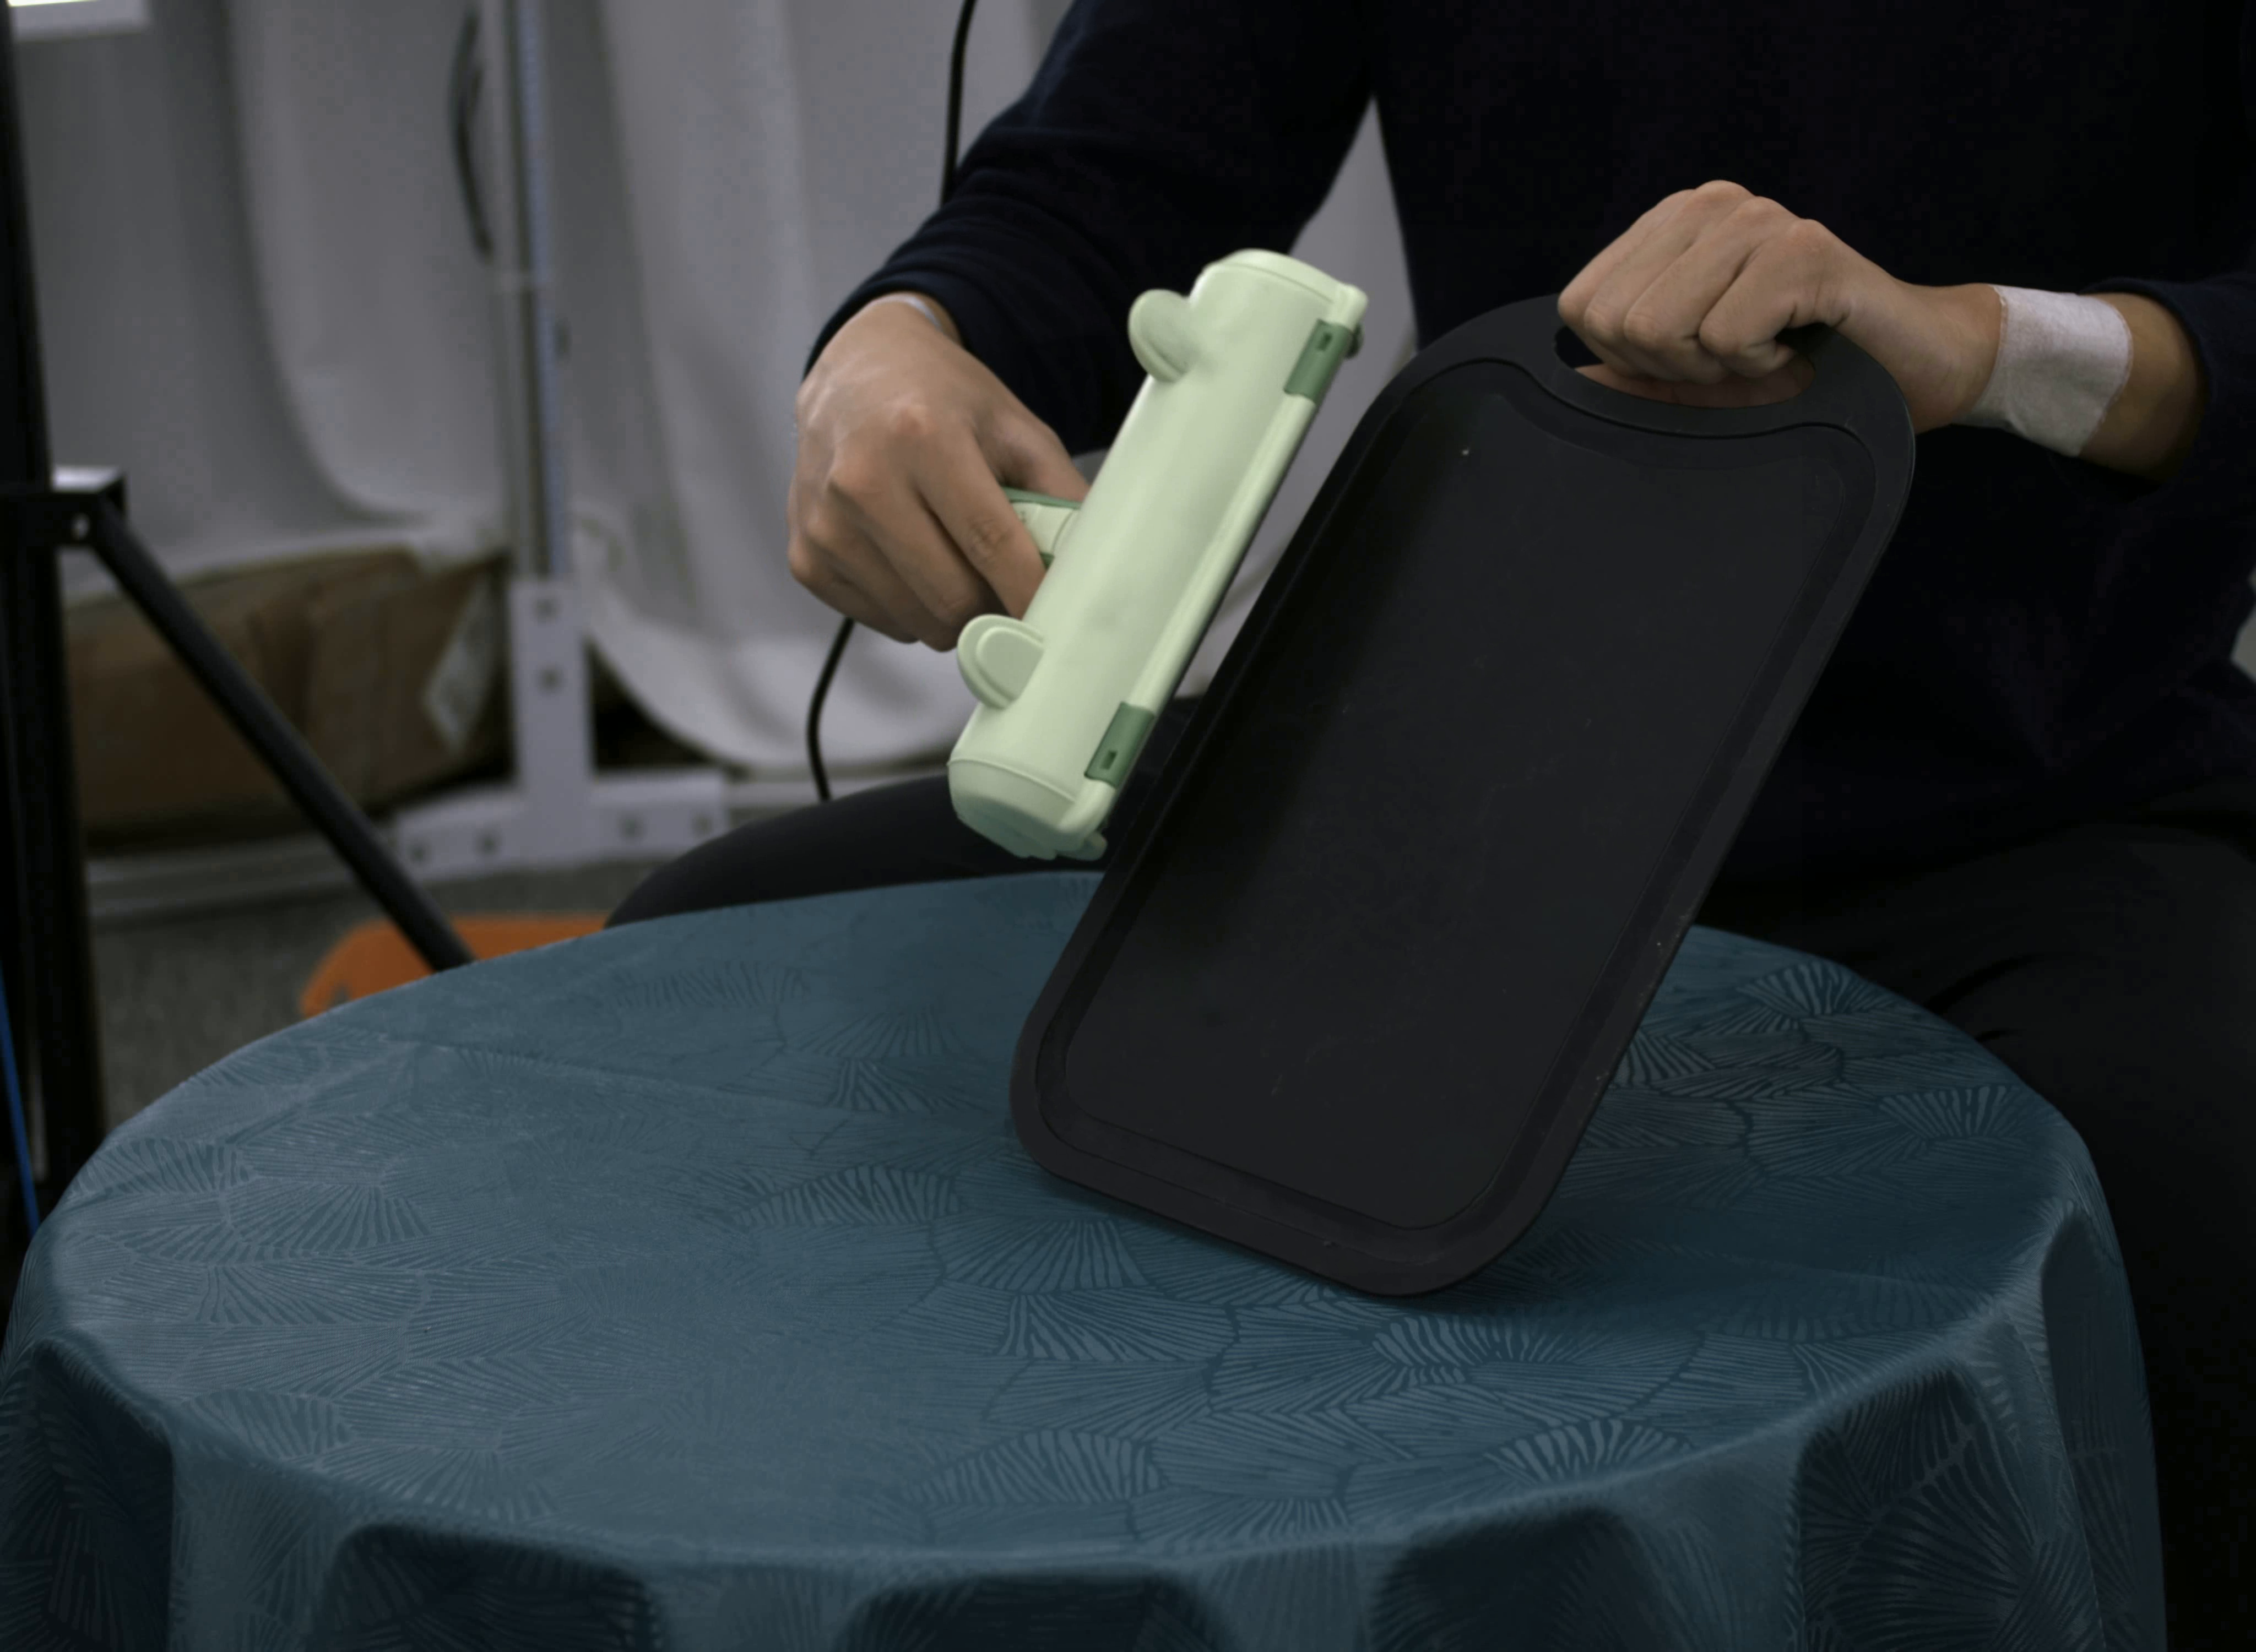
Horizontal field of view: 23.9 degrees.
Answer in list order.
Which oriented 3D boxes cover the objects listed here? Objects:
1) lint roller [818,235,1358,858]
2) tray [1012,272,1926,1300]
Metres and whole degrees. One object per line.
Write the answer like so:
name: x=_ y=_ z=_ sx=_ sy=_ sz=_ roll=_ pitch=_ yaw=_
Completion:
lint roller: x=-0.040 y=-0.098 z=1.633 sx=0.187 sy=0.199 sz=0.080 roll=13 pitch=-21 yaw=38
tray: x=0.099 y=-0.023 z=1.541 sx=0.216 sy=0.325 sz=0.009 roll=17 pitch=-17 yaw=45
